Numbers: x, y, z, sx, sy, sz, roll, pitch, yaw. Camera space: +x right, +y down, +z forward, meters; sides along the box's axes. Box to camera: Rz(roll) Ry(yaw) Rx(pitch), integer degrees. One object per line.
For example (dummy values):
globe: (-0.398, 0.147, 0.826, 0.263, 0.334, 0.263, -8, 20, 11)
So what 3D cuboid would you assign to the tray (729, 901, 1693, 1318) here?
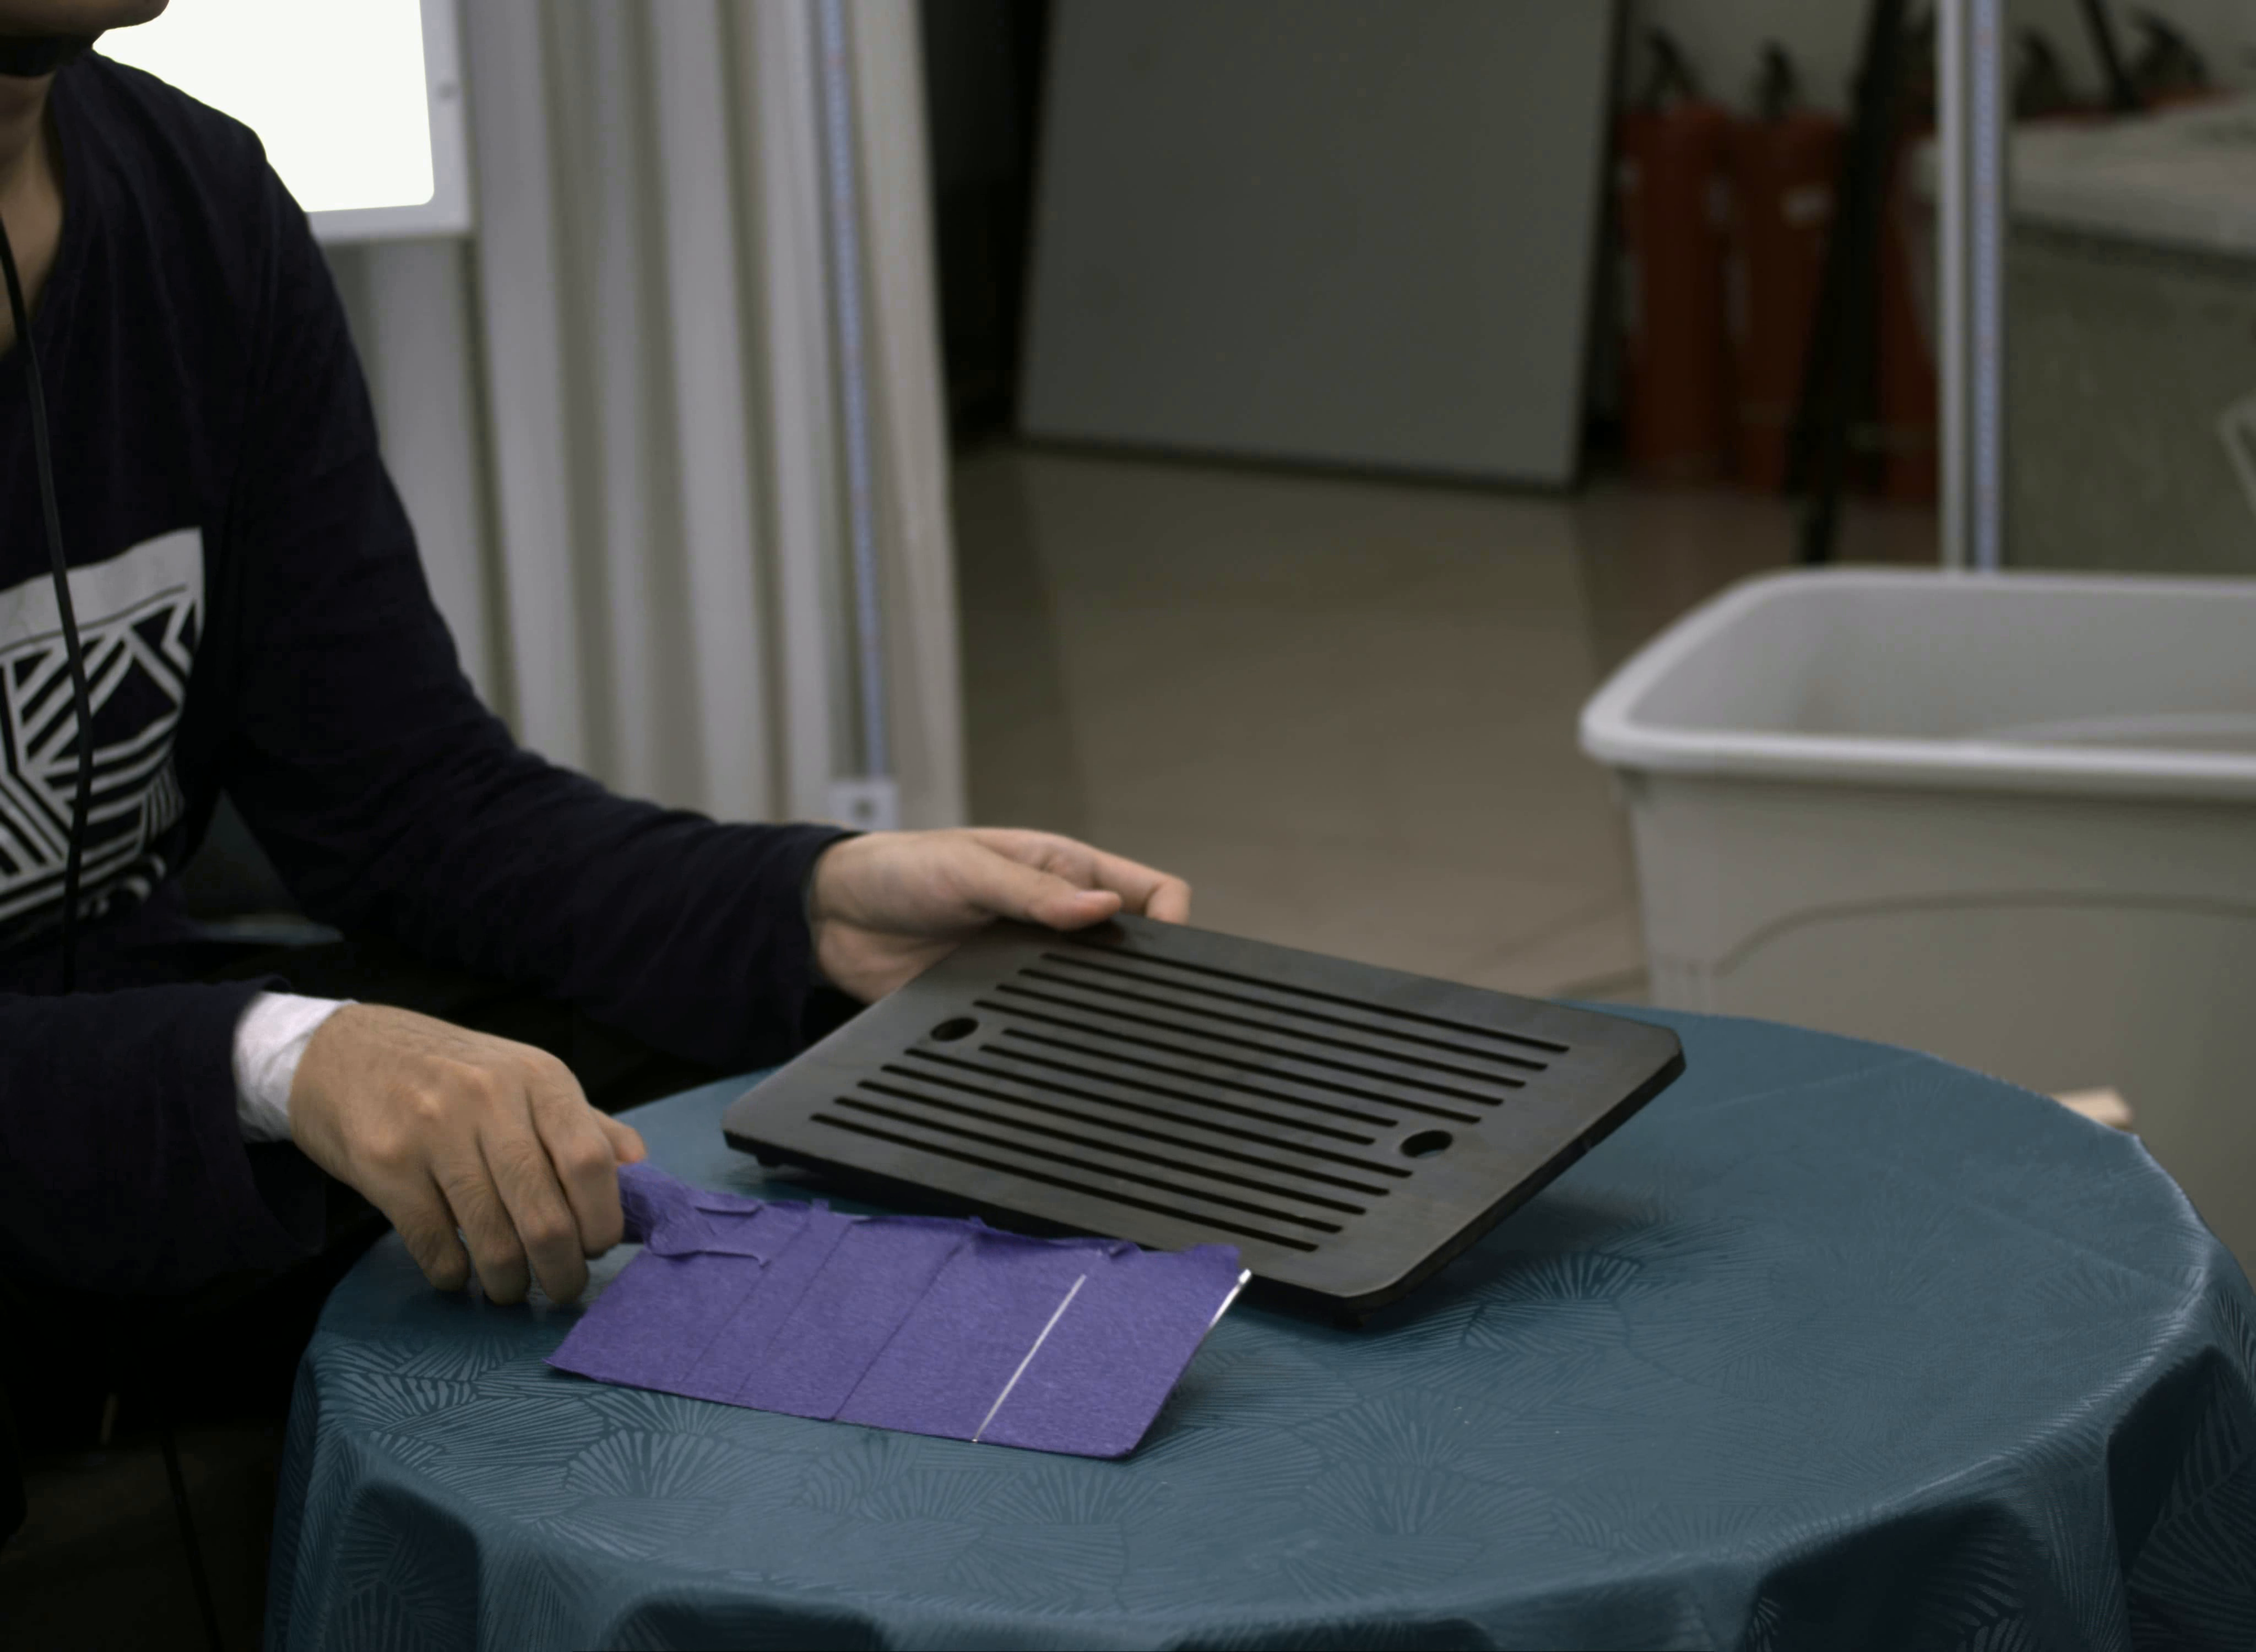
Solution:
tray: (0.024, 0.090, 1.768, 0.309, 0.019, 0.167, 10, 35, 44)

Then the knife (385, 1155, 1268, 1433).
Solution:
knife: (-0.112, 0.141, 1.637, 0.317, 0.032, 0.103, 2, 33, 32)
